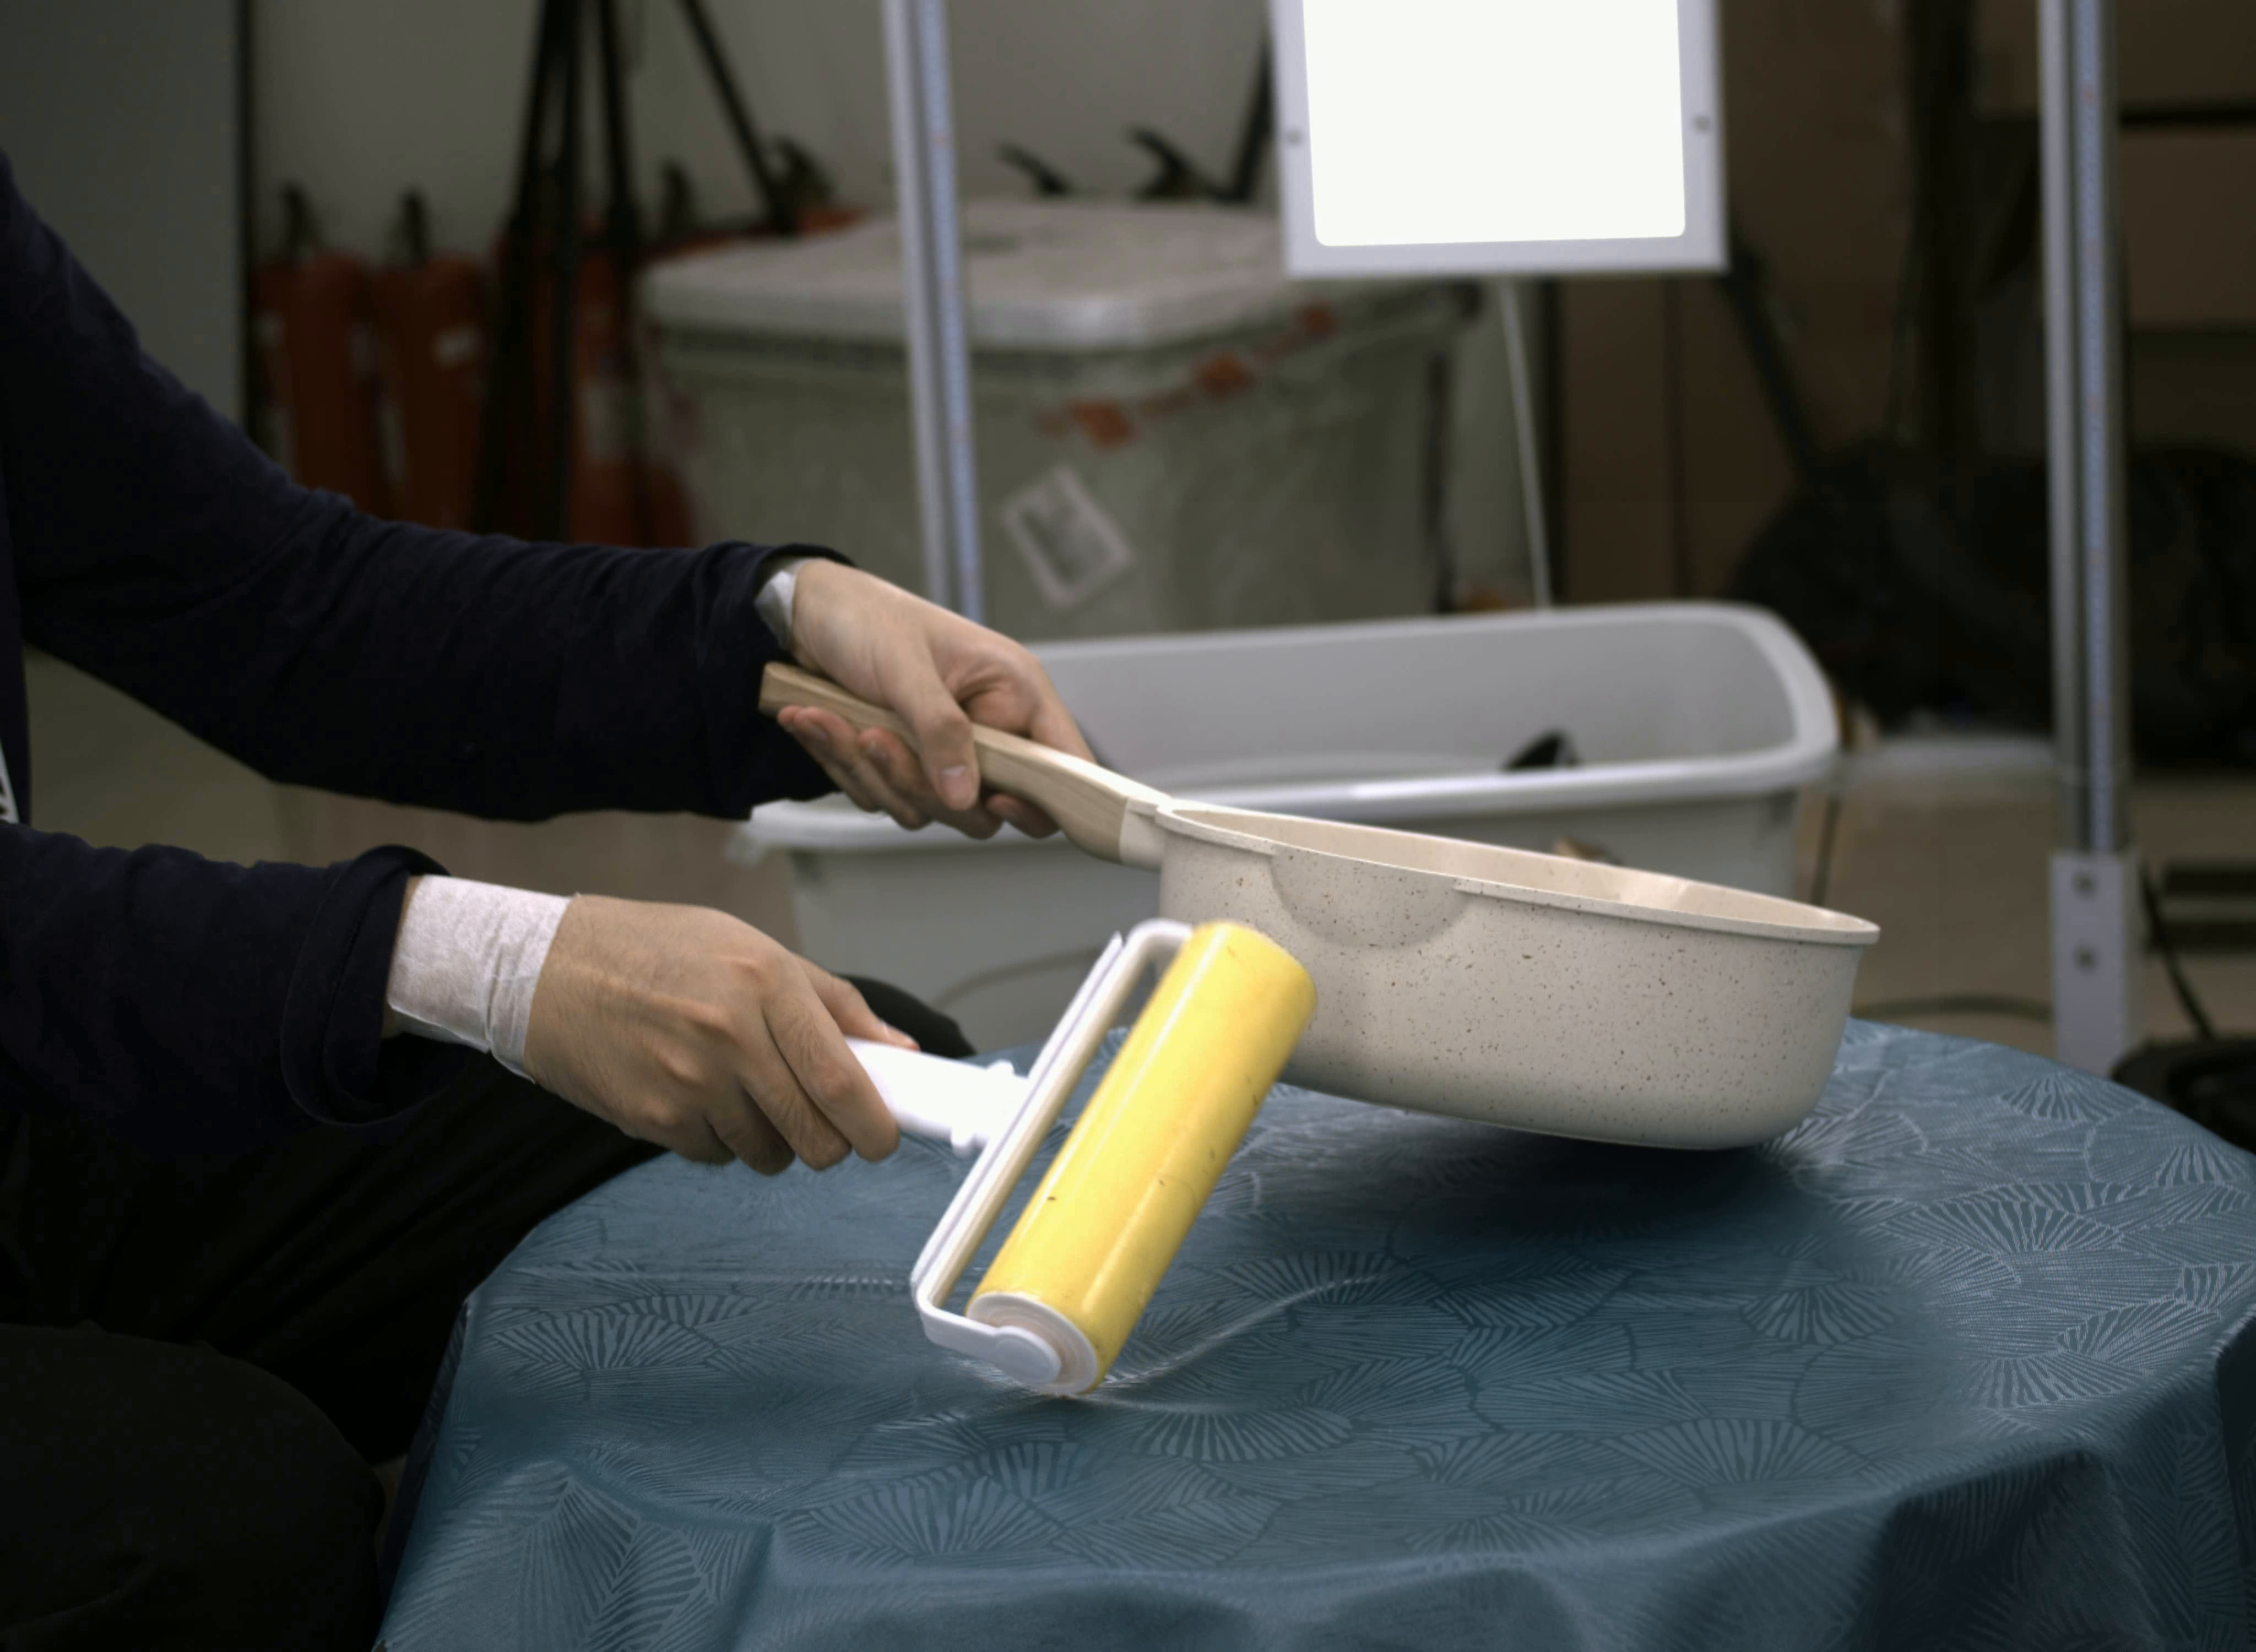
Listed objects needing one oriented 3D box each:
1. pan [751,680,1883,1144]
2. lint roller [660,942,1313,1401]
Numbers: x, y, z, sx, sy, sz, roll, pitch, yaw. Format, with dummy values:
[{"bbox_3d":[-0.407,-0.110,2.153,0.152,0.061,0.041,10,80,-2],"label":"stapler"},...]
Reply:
[{"bbox_3d":[0.050,0.030,1.930,0.442,0.102,0.257,10,6,29],"label":"pan"},{"bbox_3d":[-0.061,0.085,1.723,0.194,0.052,0.171,18,48,18],"label":"lint roller"}]
